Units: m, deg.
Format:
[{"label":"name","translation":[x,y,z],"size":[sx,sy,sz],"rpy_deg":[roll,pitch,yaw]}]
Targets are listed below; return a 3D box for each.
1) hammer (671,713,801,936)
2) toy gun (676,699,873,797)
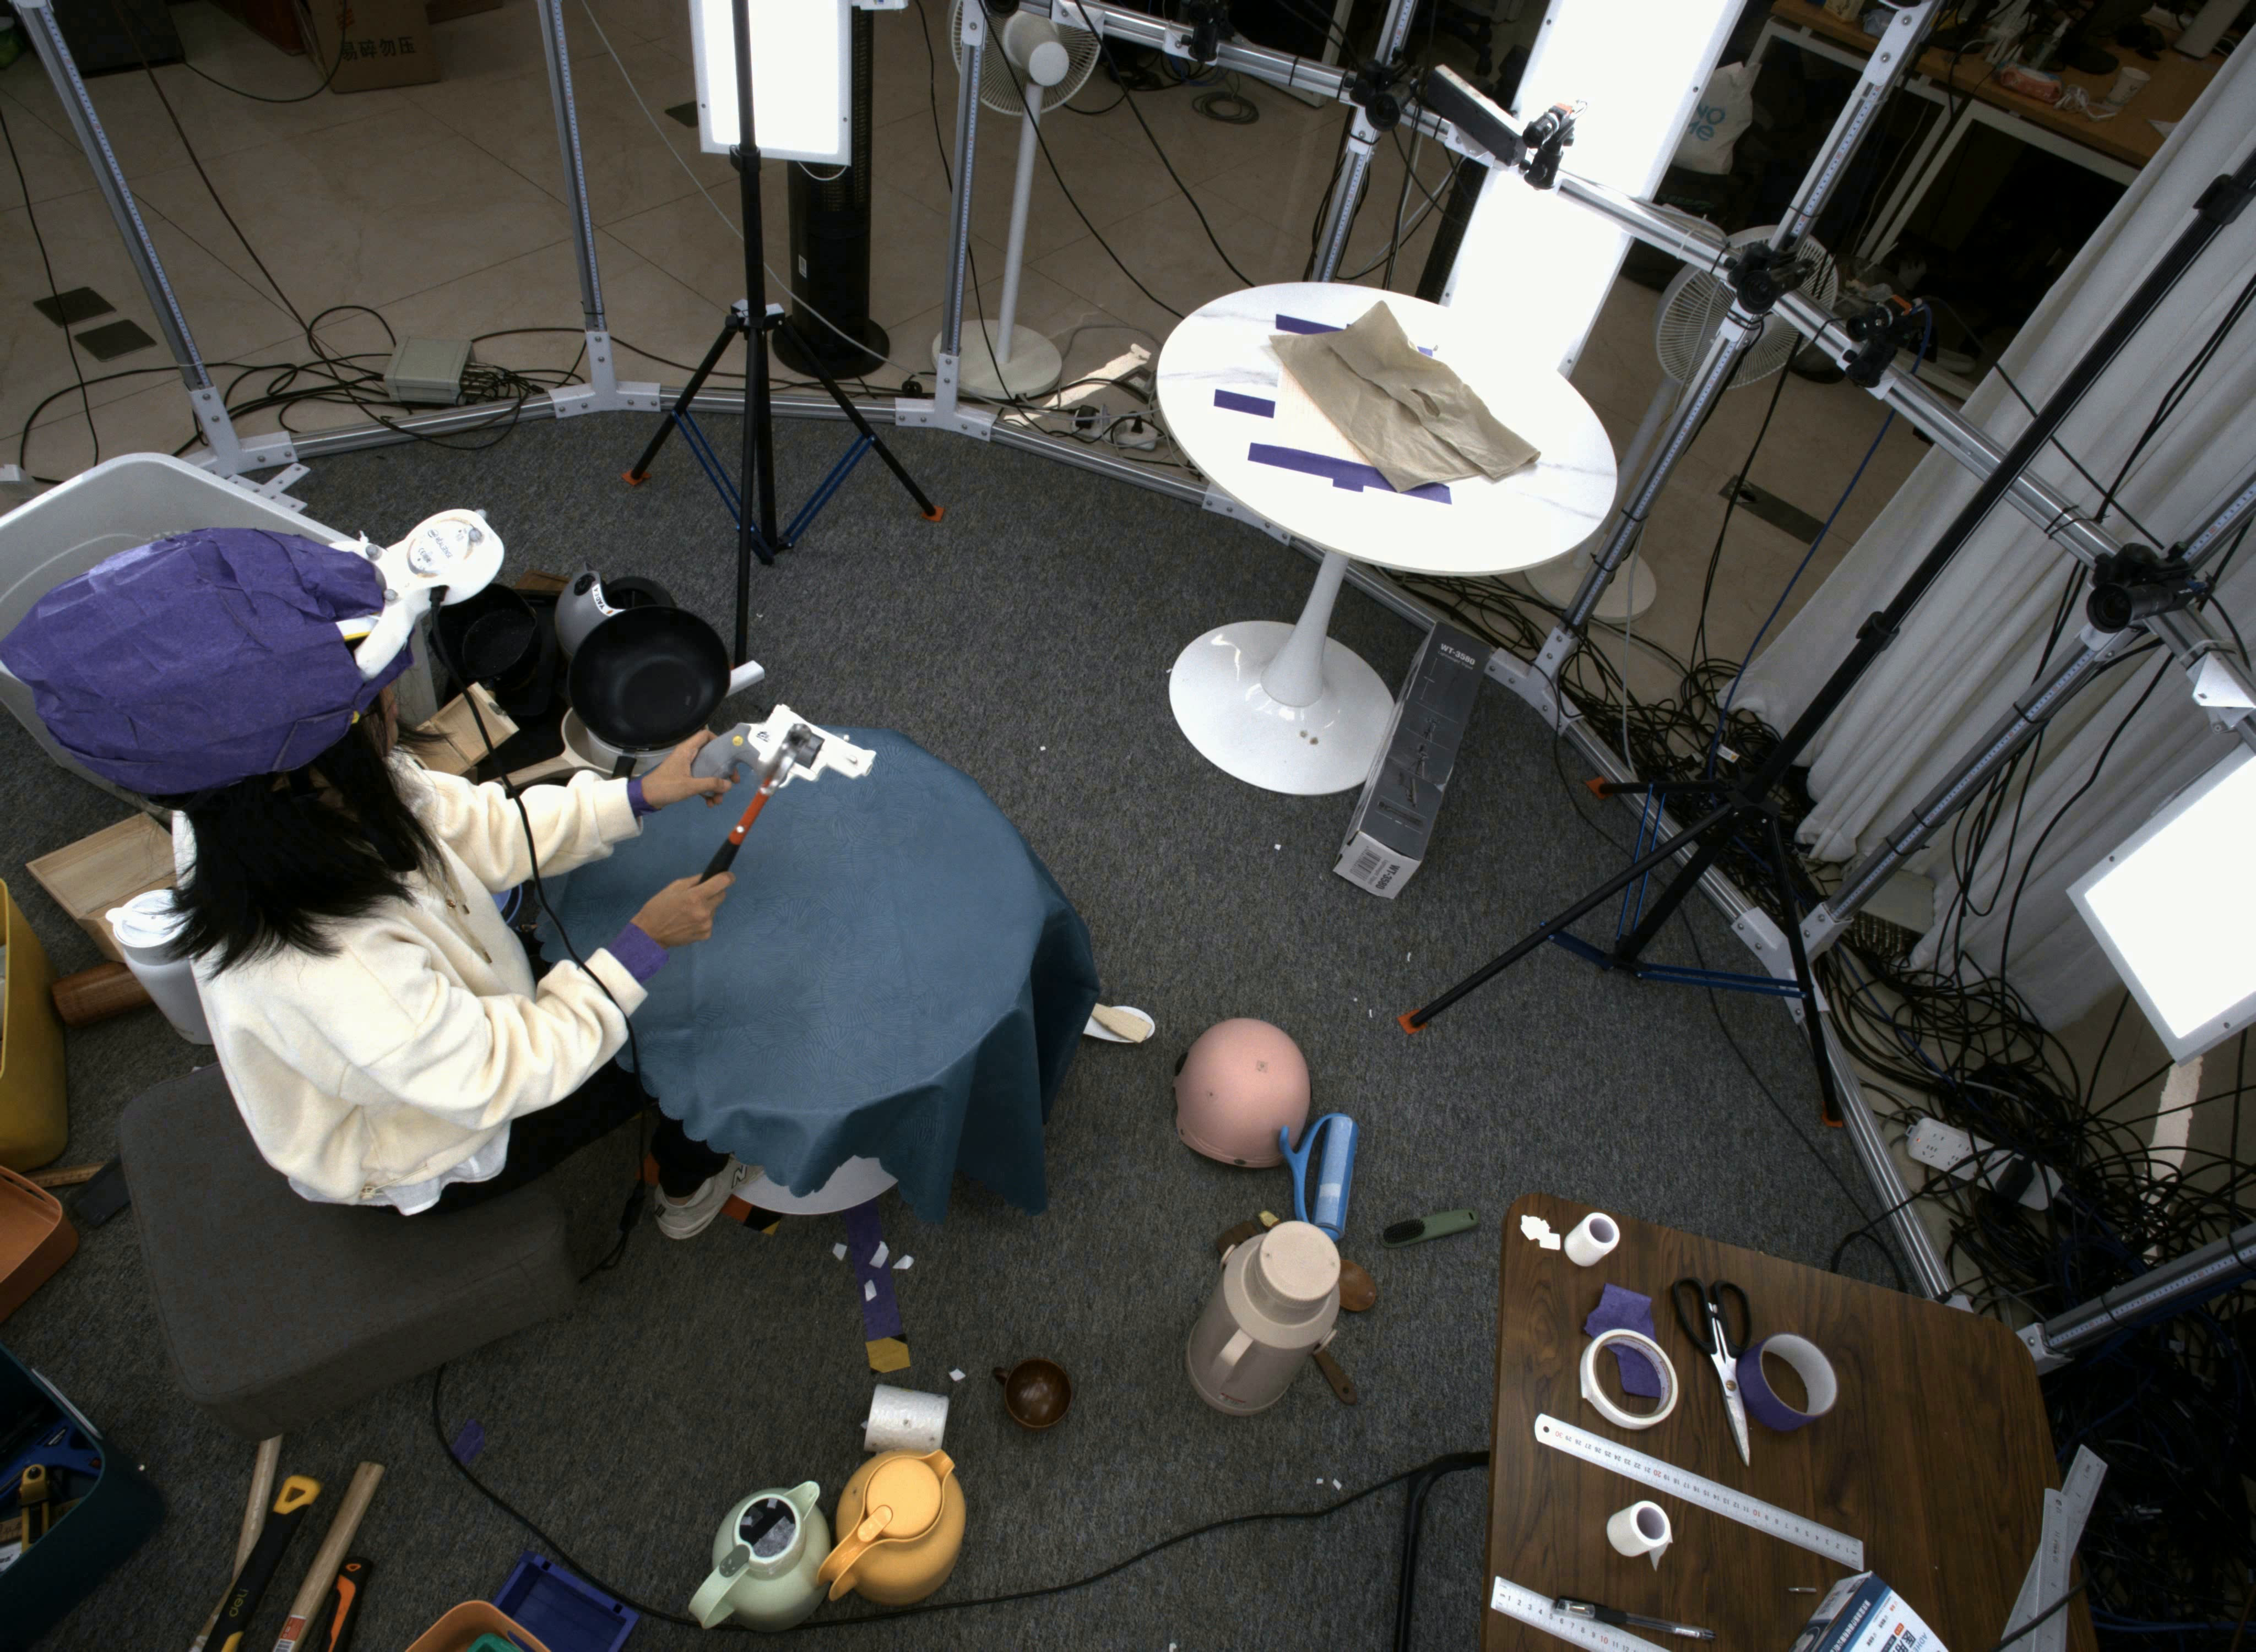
[{"label":"hammer","translation":[-0.437,0.006,1.430],"size":[0.027,0.279,0.108],"rpy_deg":[28,18,-20]},{"label":"toy gun","translation":[-0.424,-0.076,1.549],"size":[0.207,0.039,0.142],"rpy_deg":[24,84,2]}]
